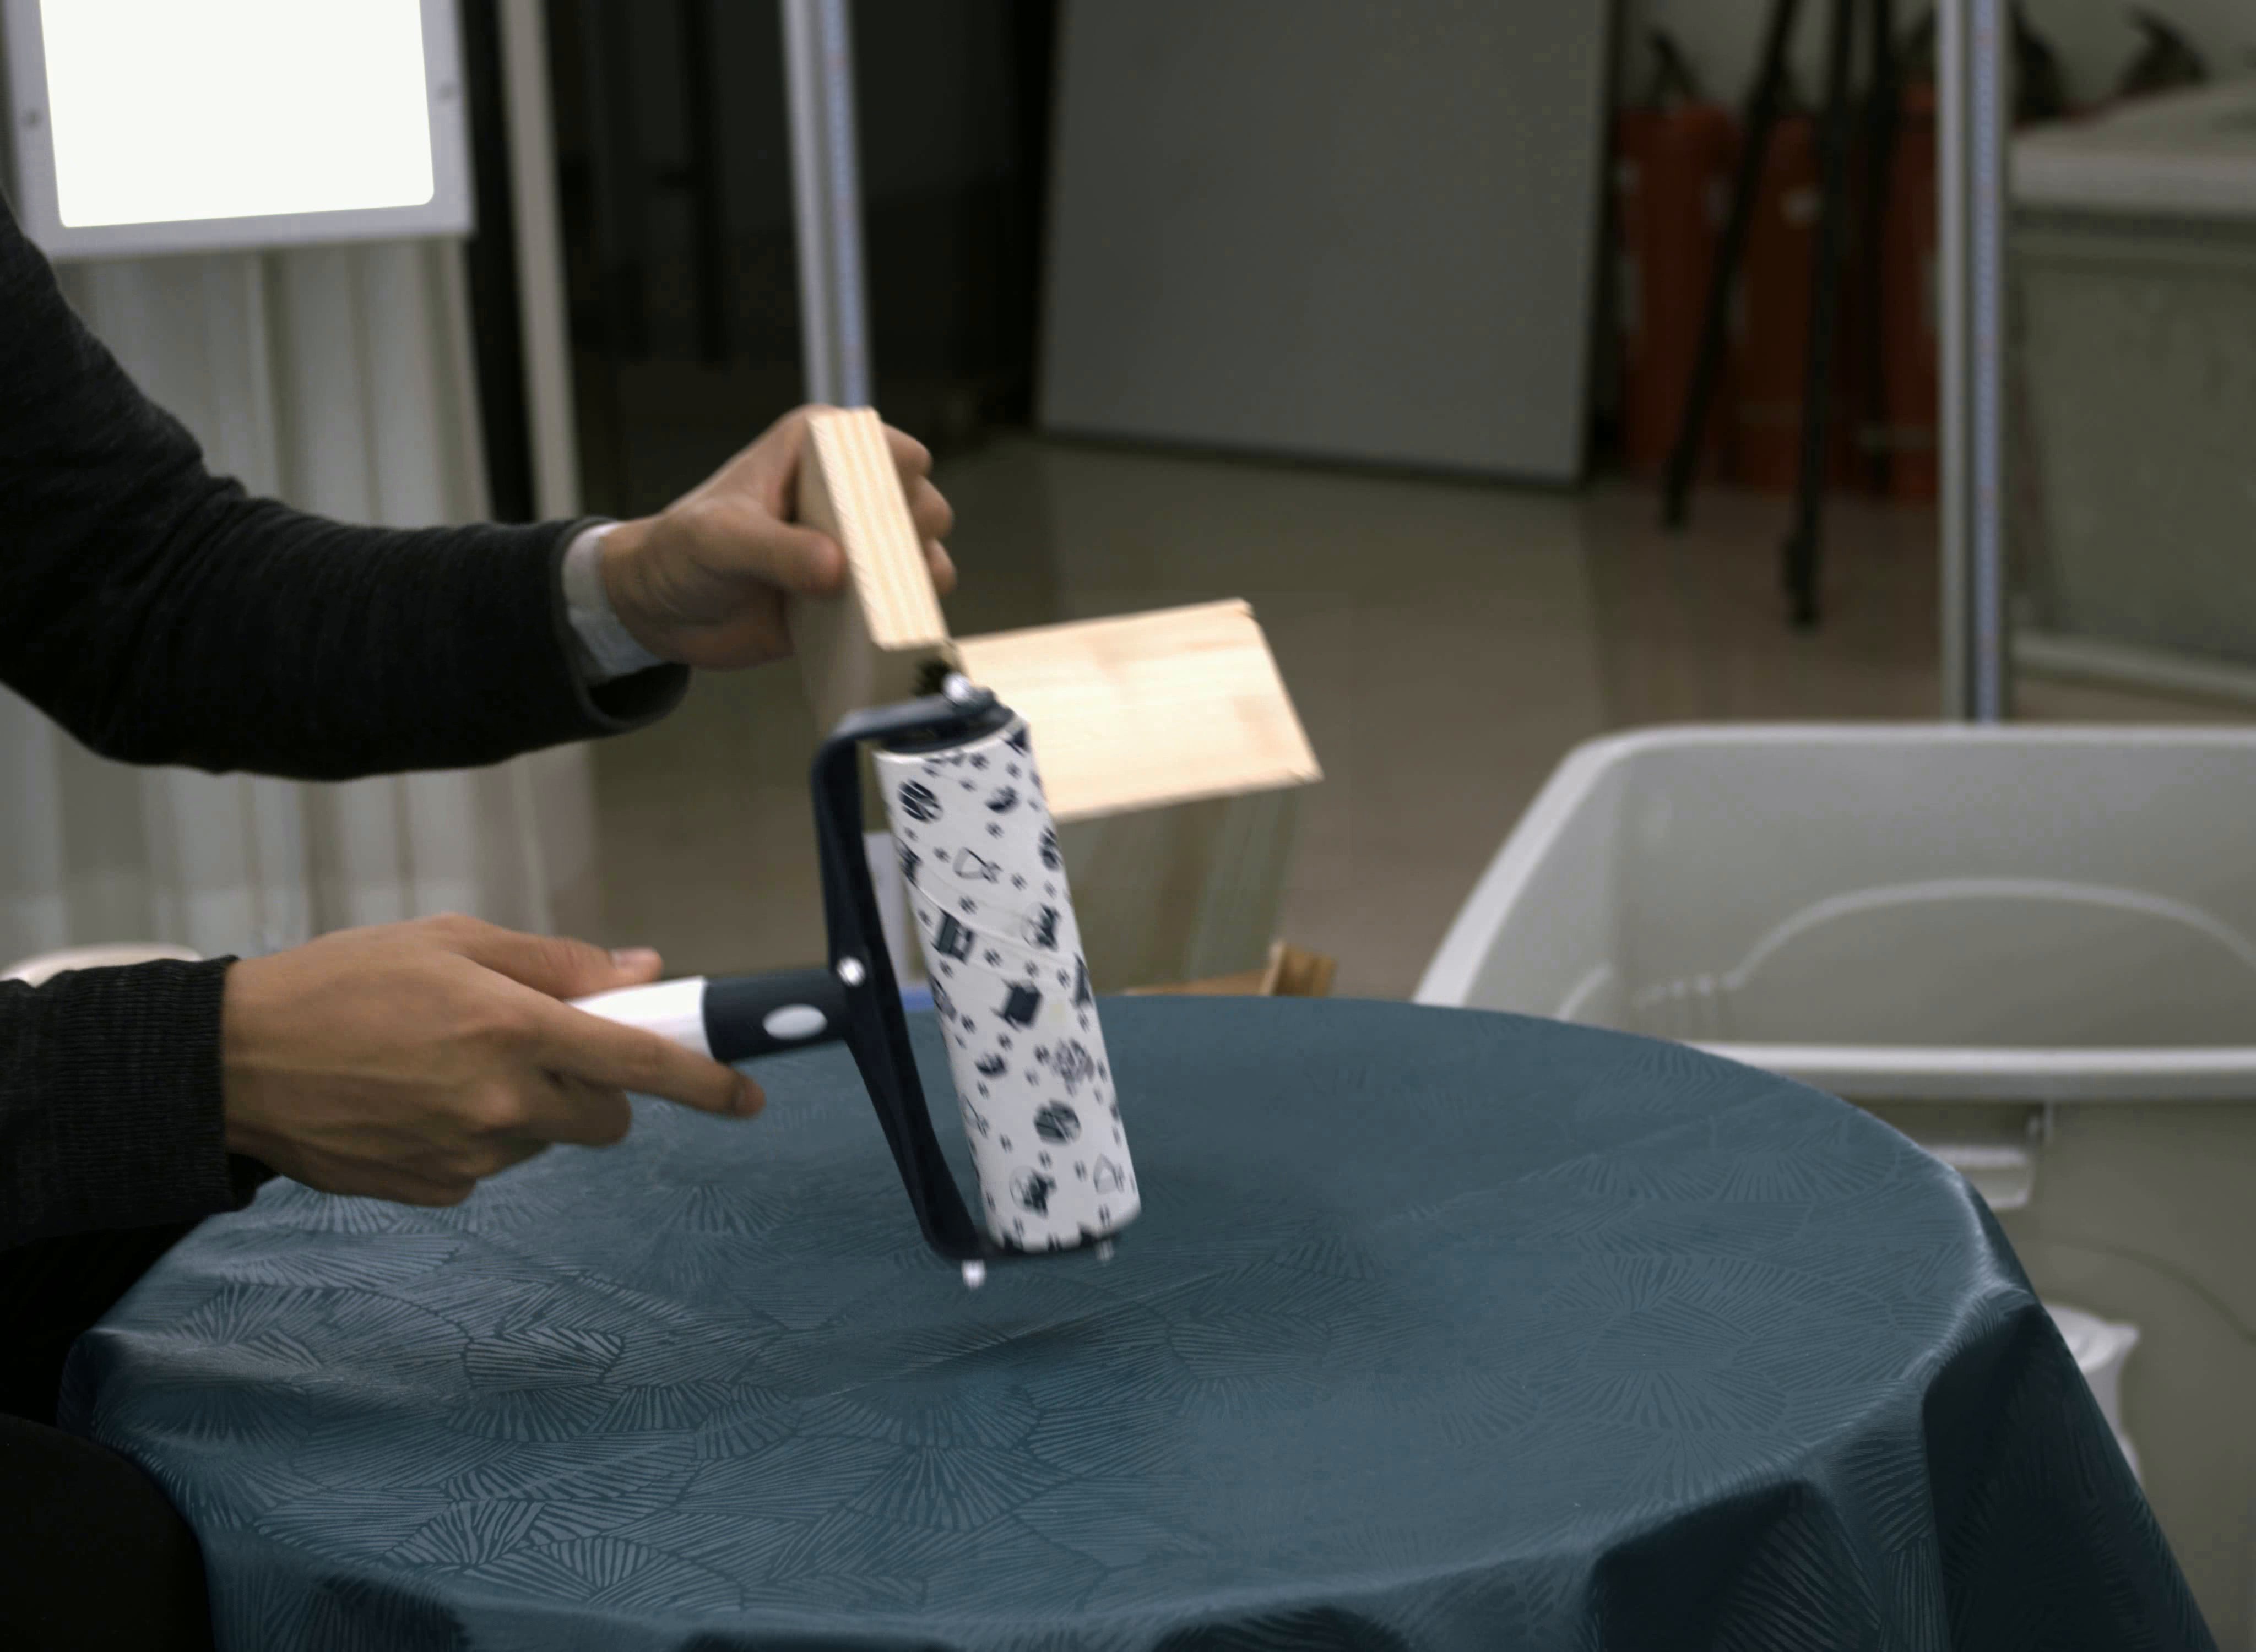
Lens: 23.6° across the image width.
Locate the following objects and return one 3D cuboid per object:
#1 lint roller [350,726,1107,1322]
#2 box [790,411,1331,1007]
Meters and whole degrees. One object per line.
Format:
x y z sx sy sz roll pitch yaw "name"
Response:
-0.127 0.061 1.637 0.246 0.178 0.050 -1 11 20 "lint roller"
-0.025 -0.044 1.780 0.131 0.103 0.187 -10 53 -17 "box"
